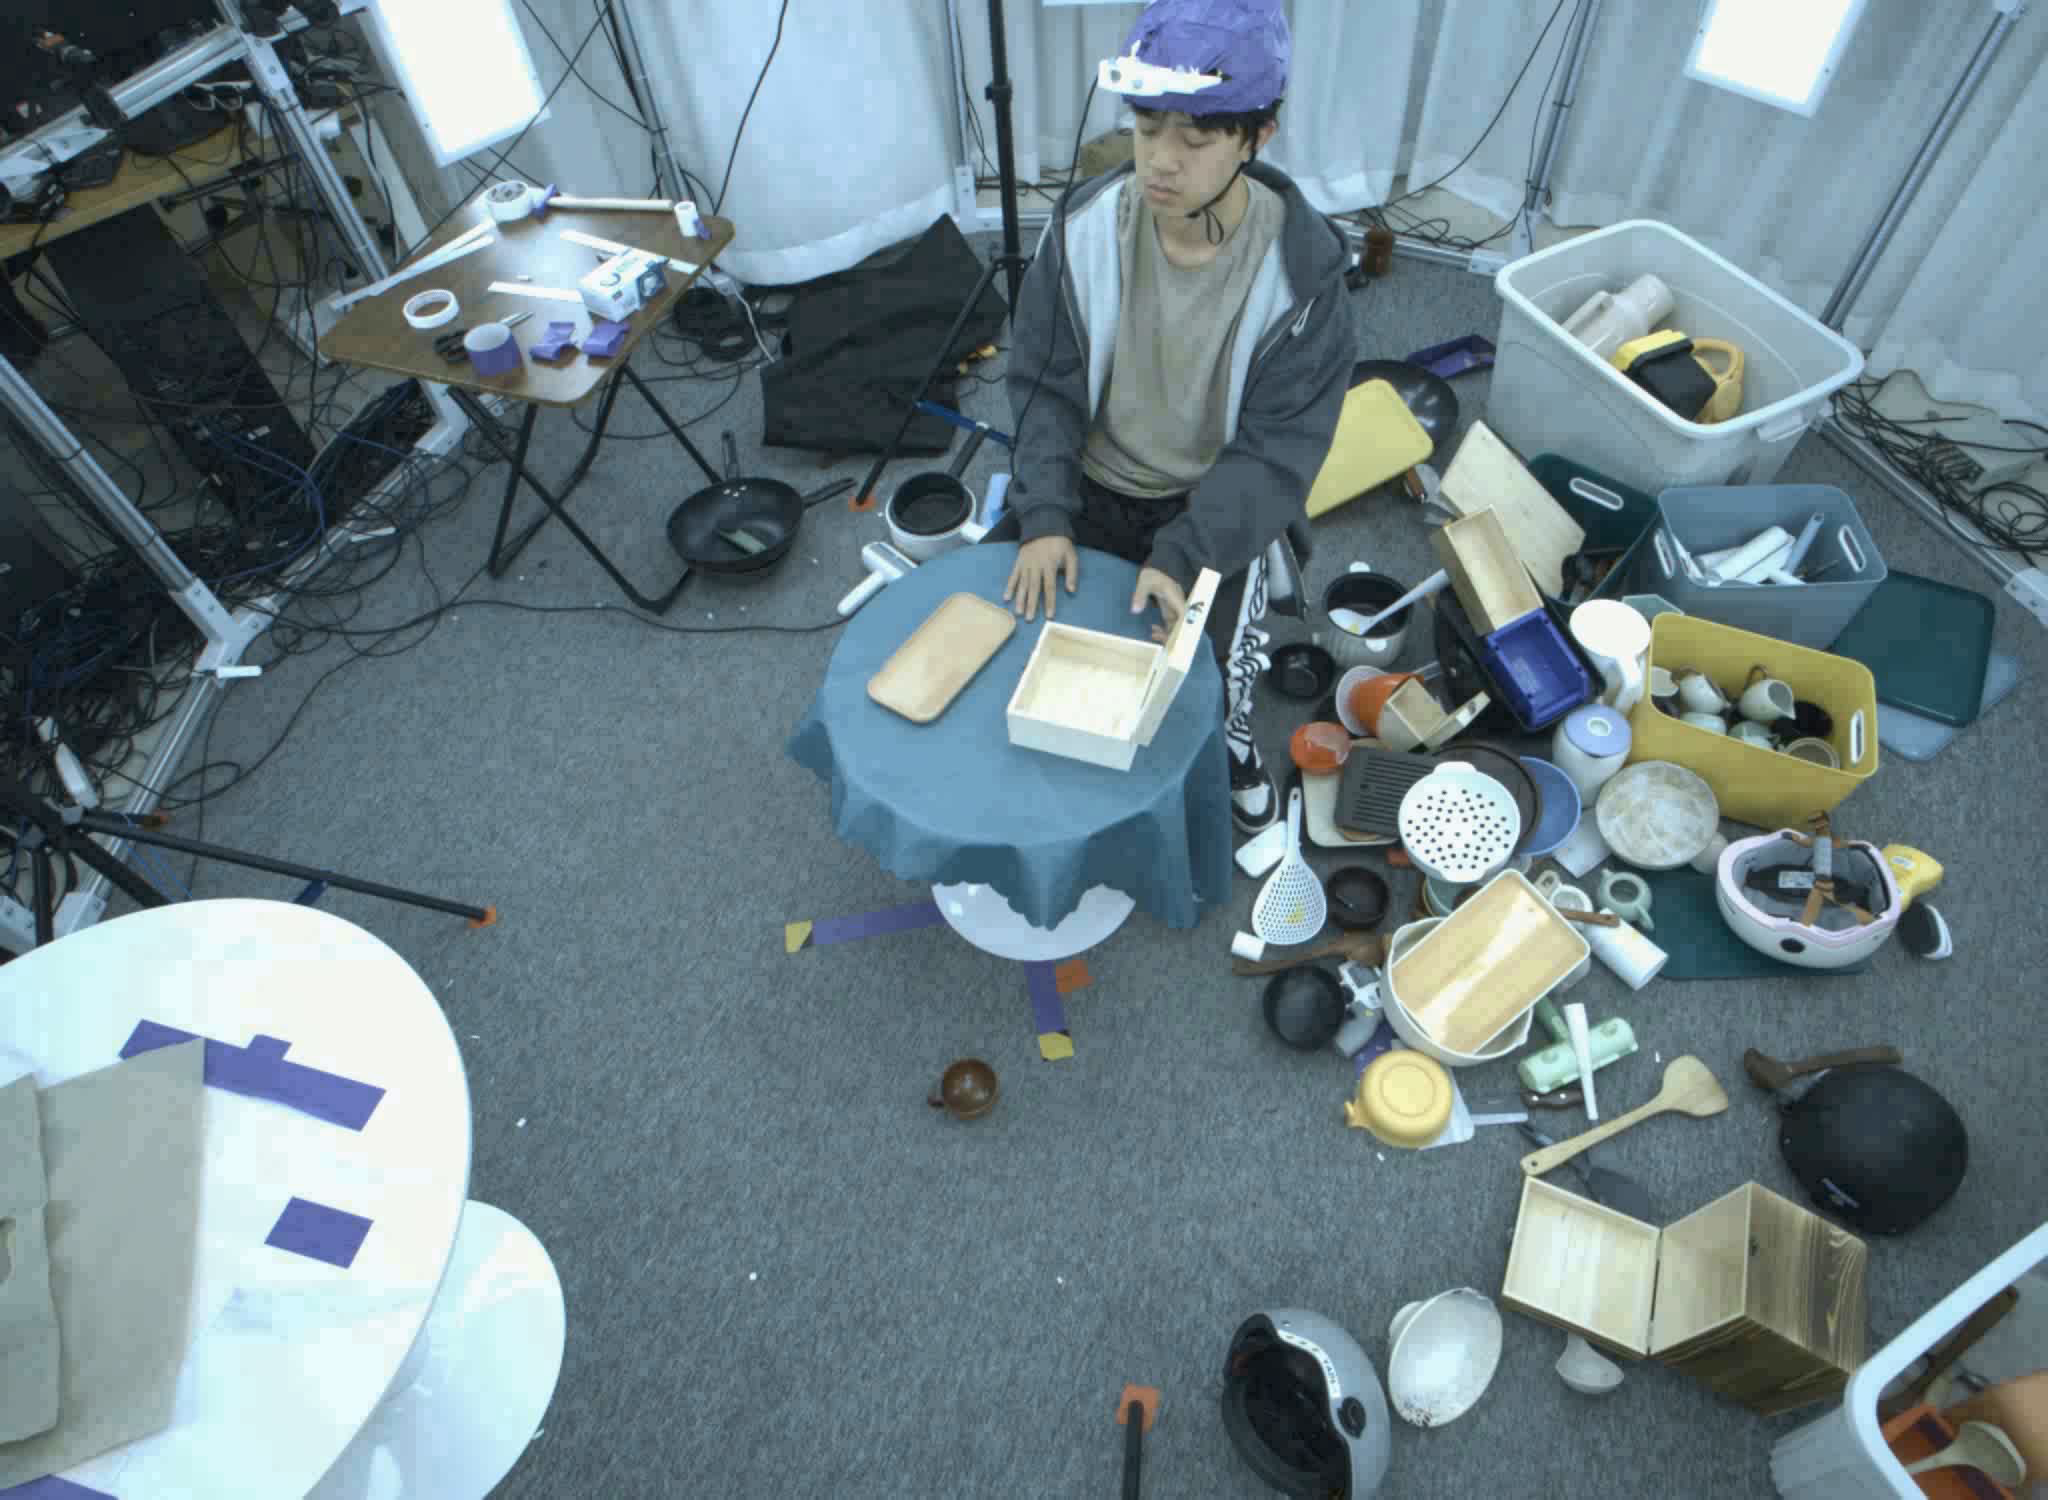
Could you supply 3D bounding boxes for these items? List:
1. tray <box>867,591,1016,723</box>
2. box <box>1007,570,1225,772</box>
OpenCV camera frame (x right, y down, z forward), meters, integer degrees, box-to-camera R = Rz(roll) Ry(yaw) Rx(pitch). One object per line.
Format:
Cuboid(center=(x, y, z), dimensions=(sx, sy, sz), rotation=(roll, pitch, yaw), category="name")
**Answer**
Cuboid(center=(-0.125, -0.145, 1.886), dimensions=(0.129, 0.023, 0.252), rotation=(30, 60, 18), category="tray")
Cuboid(center=(0.121, -0.125, 1.724), dimensions=(0.263, 0.256, 0.181), rotation=(13, 54, 11), category="box")
